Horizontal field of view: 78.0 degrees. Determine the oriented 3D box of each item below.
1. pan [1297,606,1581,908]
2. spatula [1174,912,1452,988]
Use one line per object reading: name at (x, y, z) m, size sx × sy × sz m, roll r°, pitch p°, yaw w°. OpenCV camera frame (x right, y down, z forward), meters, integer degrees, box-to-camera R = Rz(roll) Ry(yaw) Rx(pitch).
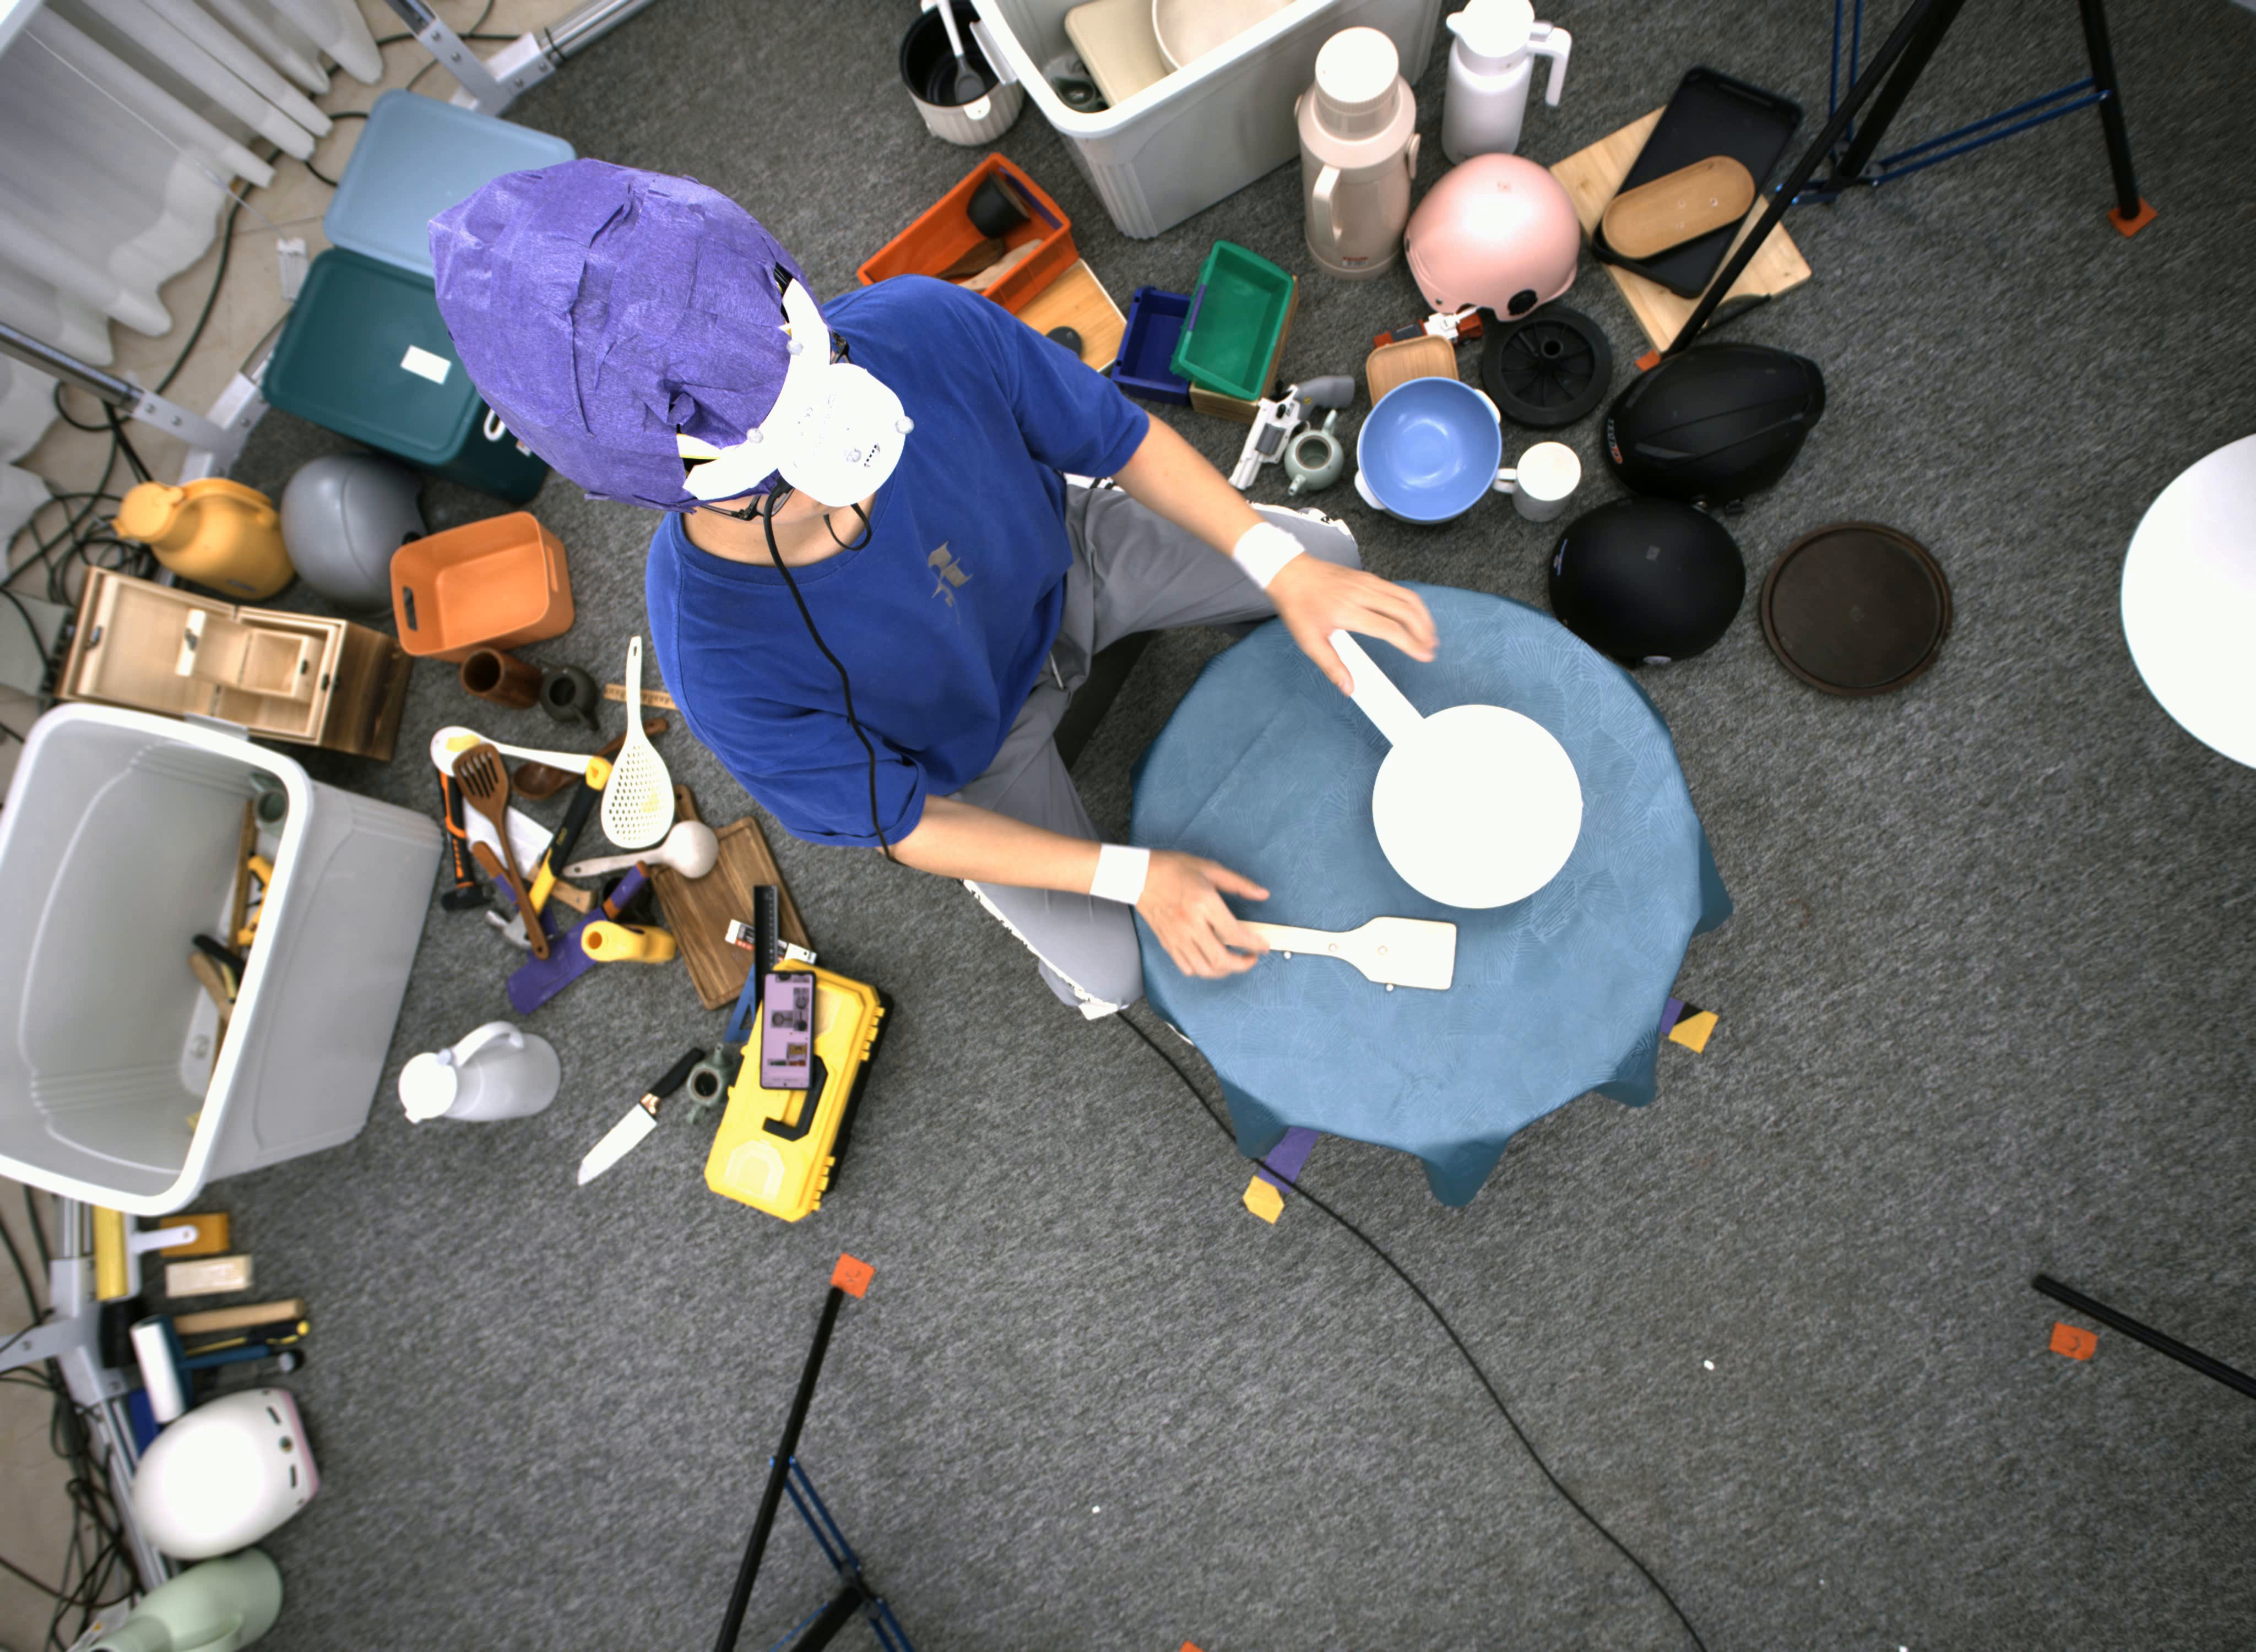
pan at (0.303, -0.076, 1.410) m, size 0.202 × 0.102 × 0.353 m, roll -41°, pitch 81°, yaw 8°
spatula at (0.193, 0.120, 1.465) m, size 0.294 × 0.010 × 0.072 m, roll 6°, pitch 89°, yaw 11°
